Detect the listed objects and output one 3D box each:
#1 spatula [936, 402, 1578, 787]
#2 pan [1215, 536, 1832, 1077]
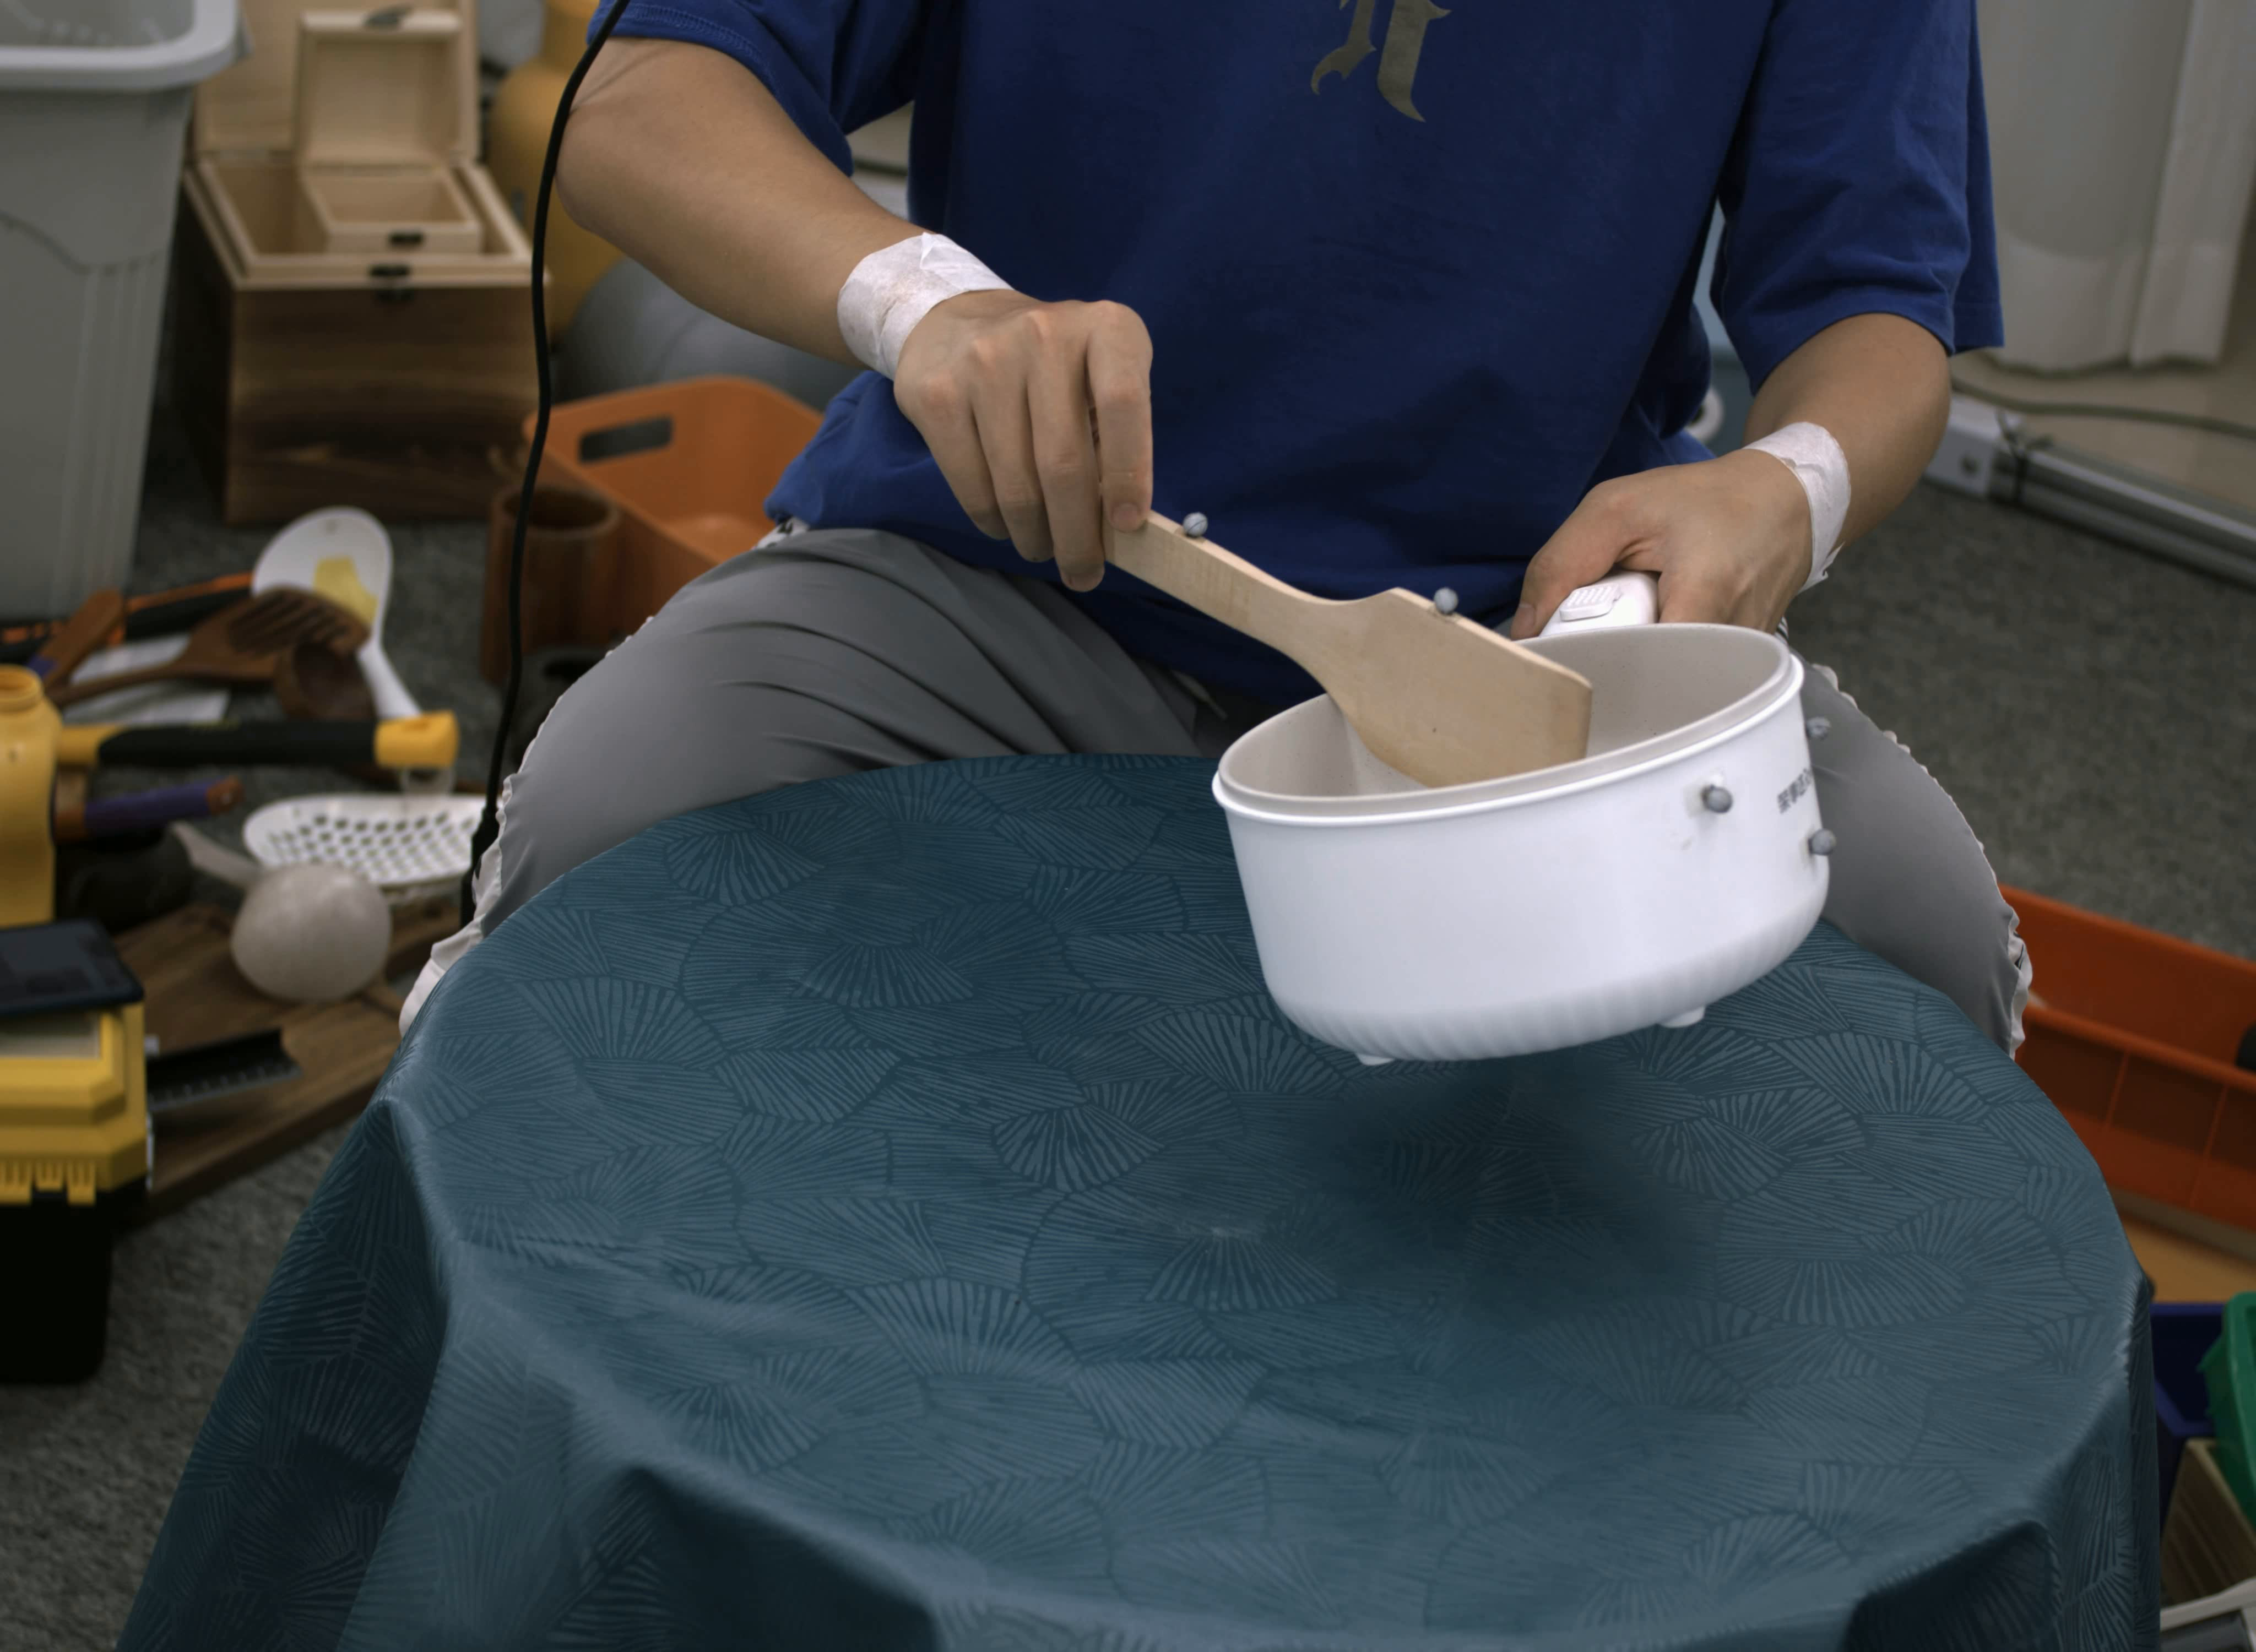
[{"bbox_3d":[0.039,-0.084,1.870,0.295,0.072,0.010,30,43,31],"label":"spatula"},{"bbox_3d":[0.156,-0.012,1.860,0.201,0.102,0.355,-11,14,18],"label":"pan"}]
